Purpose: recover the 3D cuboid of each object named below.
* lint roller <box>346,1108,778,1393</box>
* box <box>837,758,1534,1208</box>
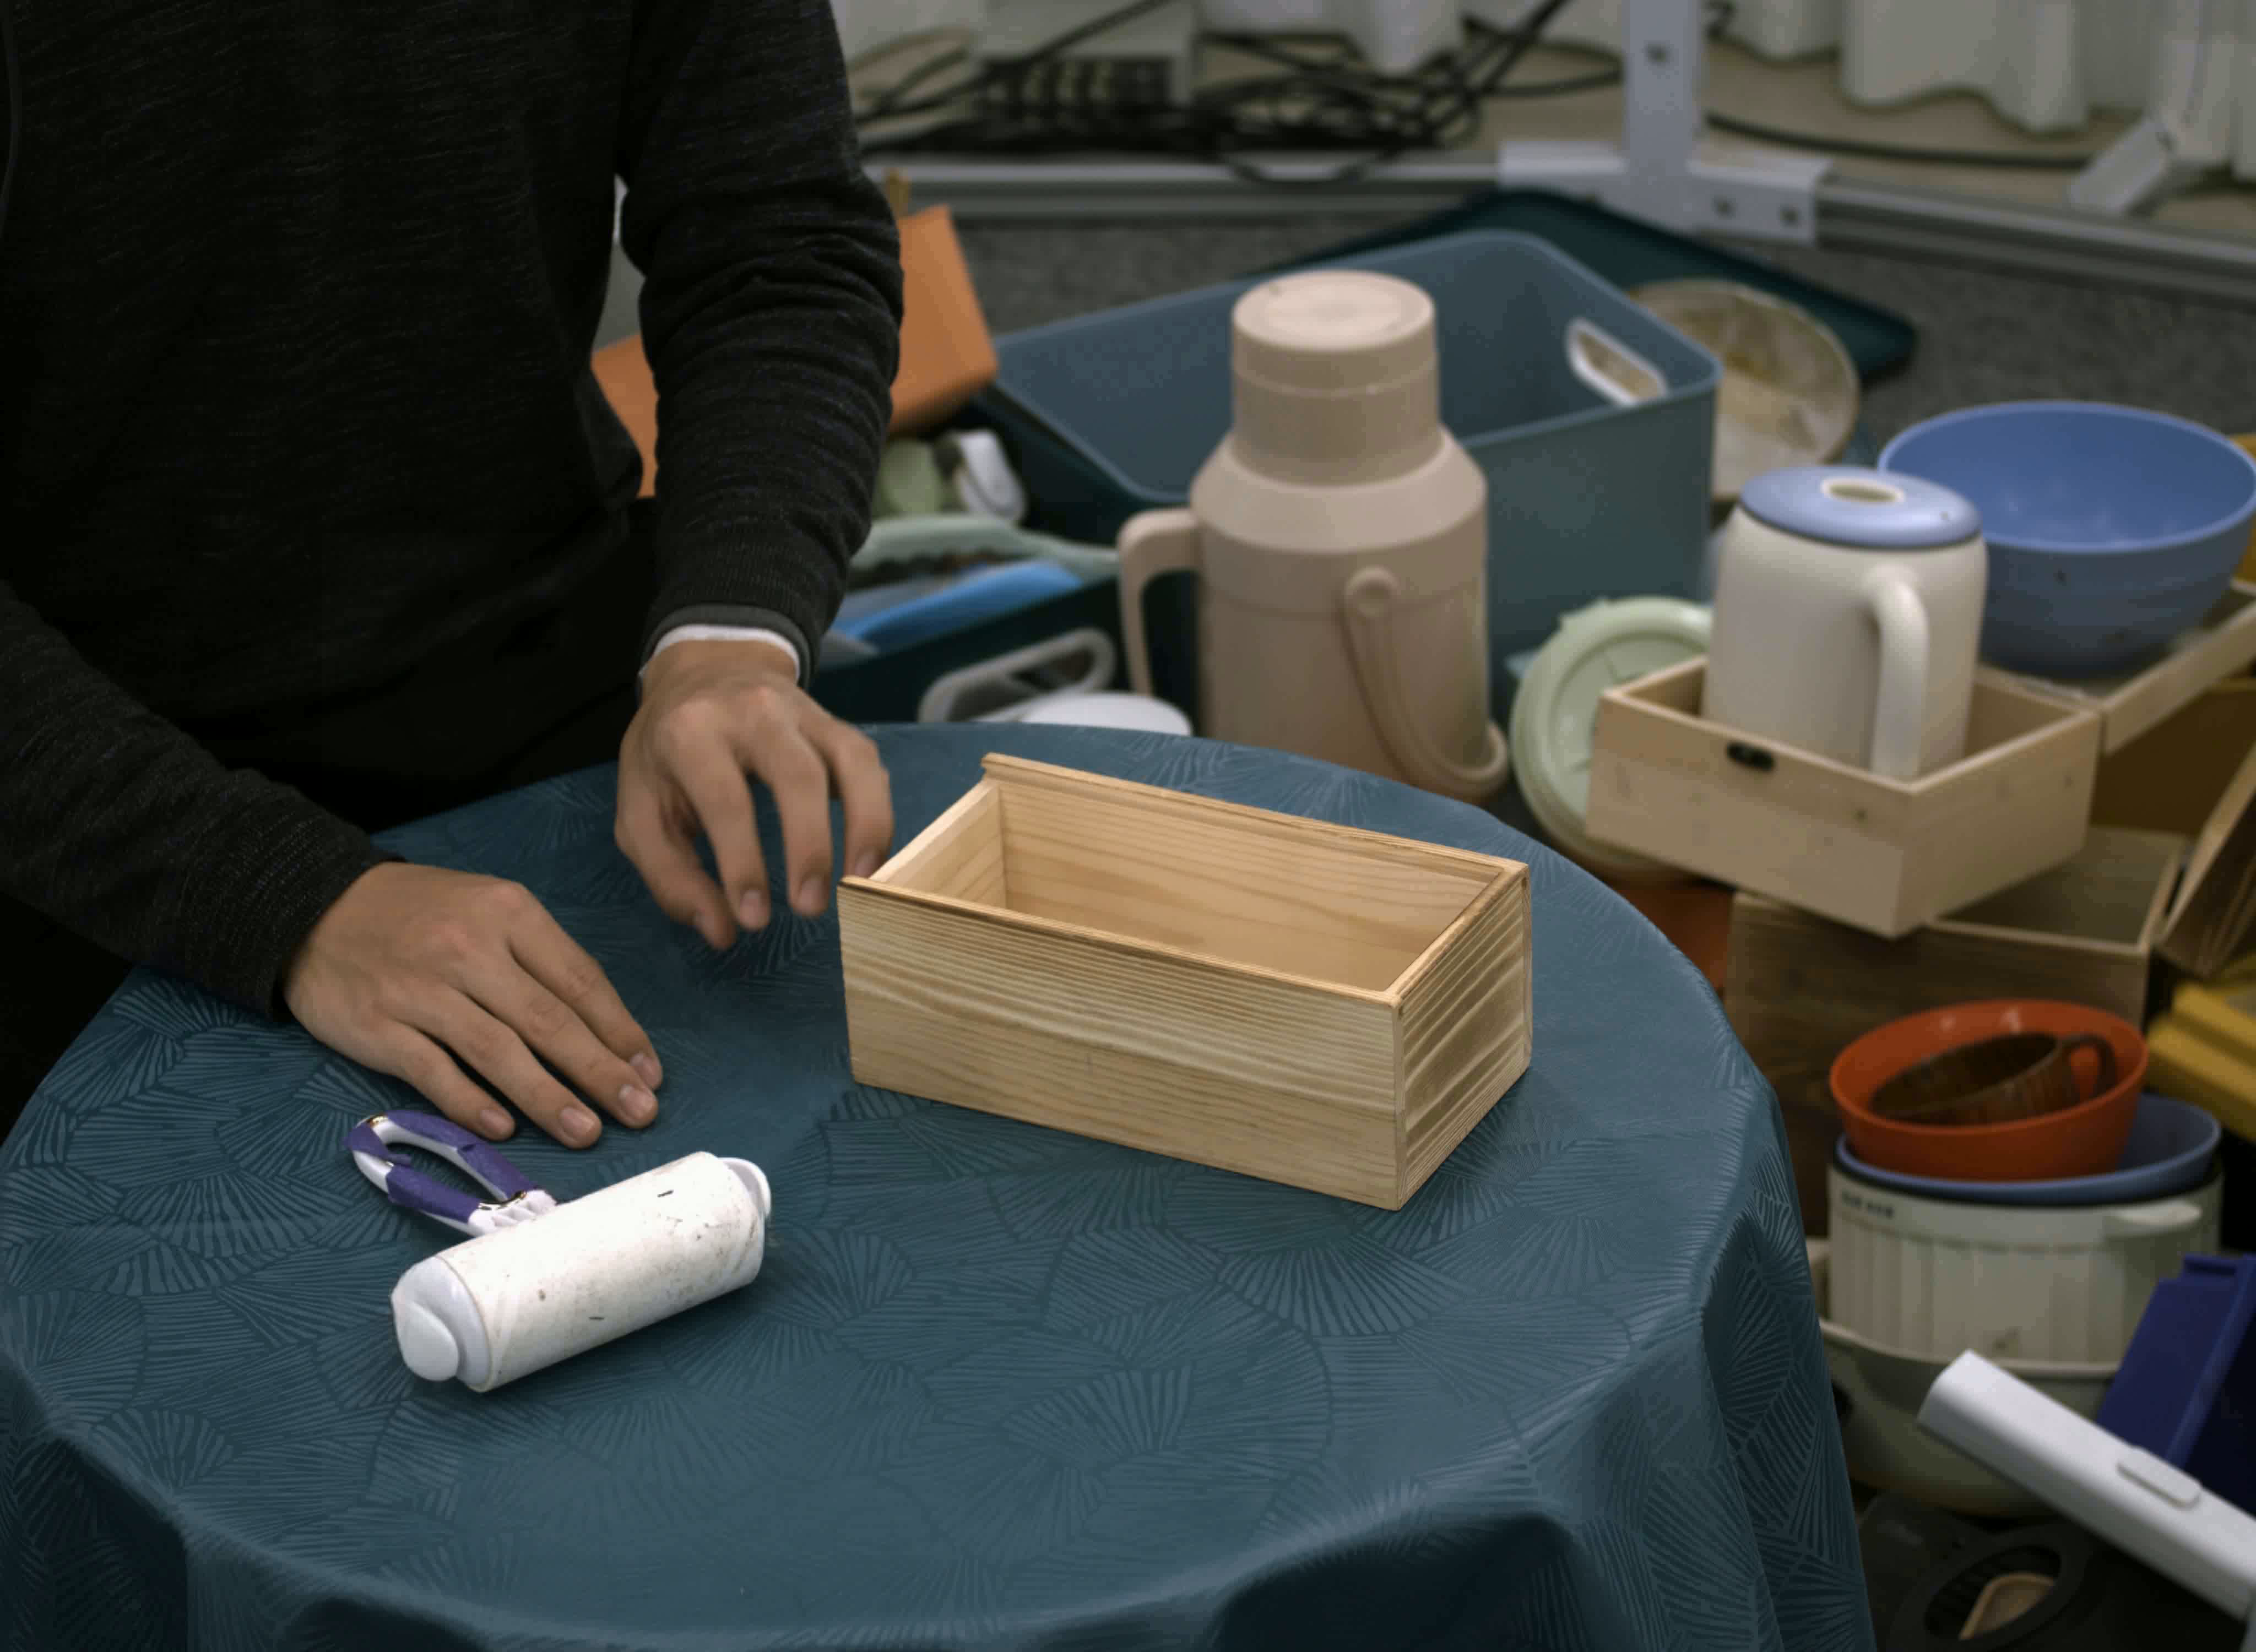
[{"bbox_3d":[-0.207,0.118,1.838,0.134,0.049,0.181,-20,33,-28],"label":"lint roller"},{"bbox_3d":[0.020,0.051,1.910,0.210,0.079,0.109,11,30,26],"label":"box"}]
